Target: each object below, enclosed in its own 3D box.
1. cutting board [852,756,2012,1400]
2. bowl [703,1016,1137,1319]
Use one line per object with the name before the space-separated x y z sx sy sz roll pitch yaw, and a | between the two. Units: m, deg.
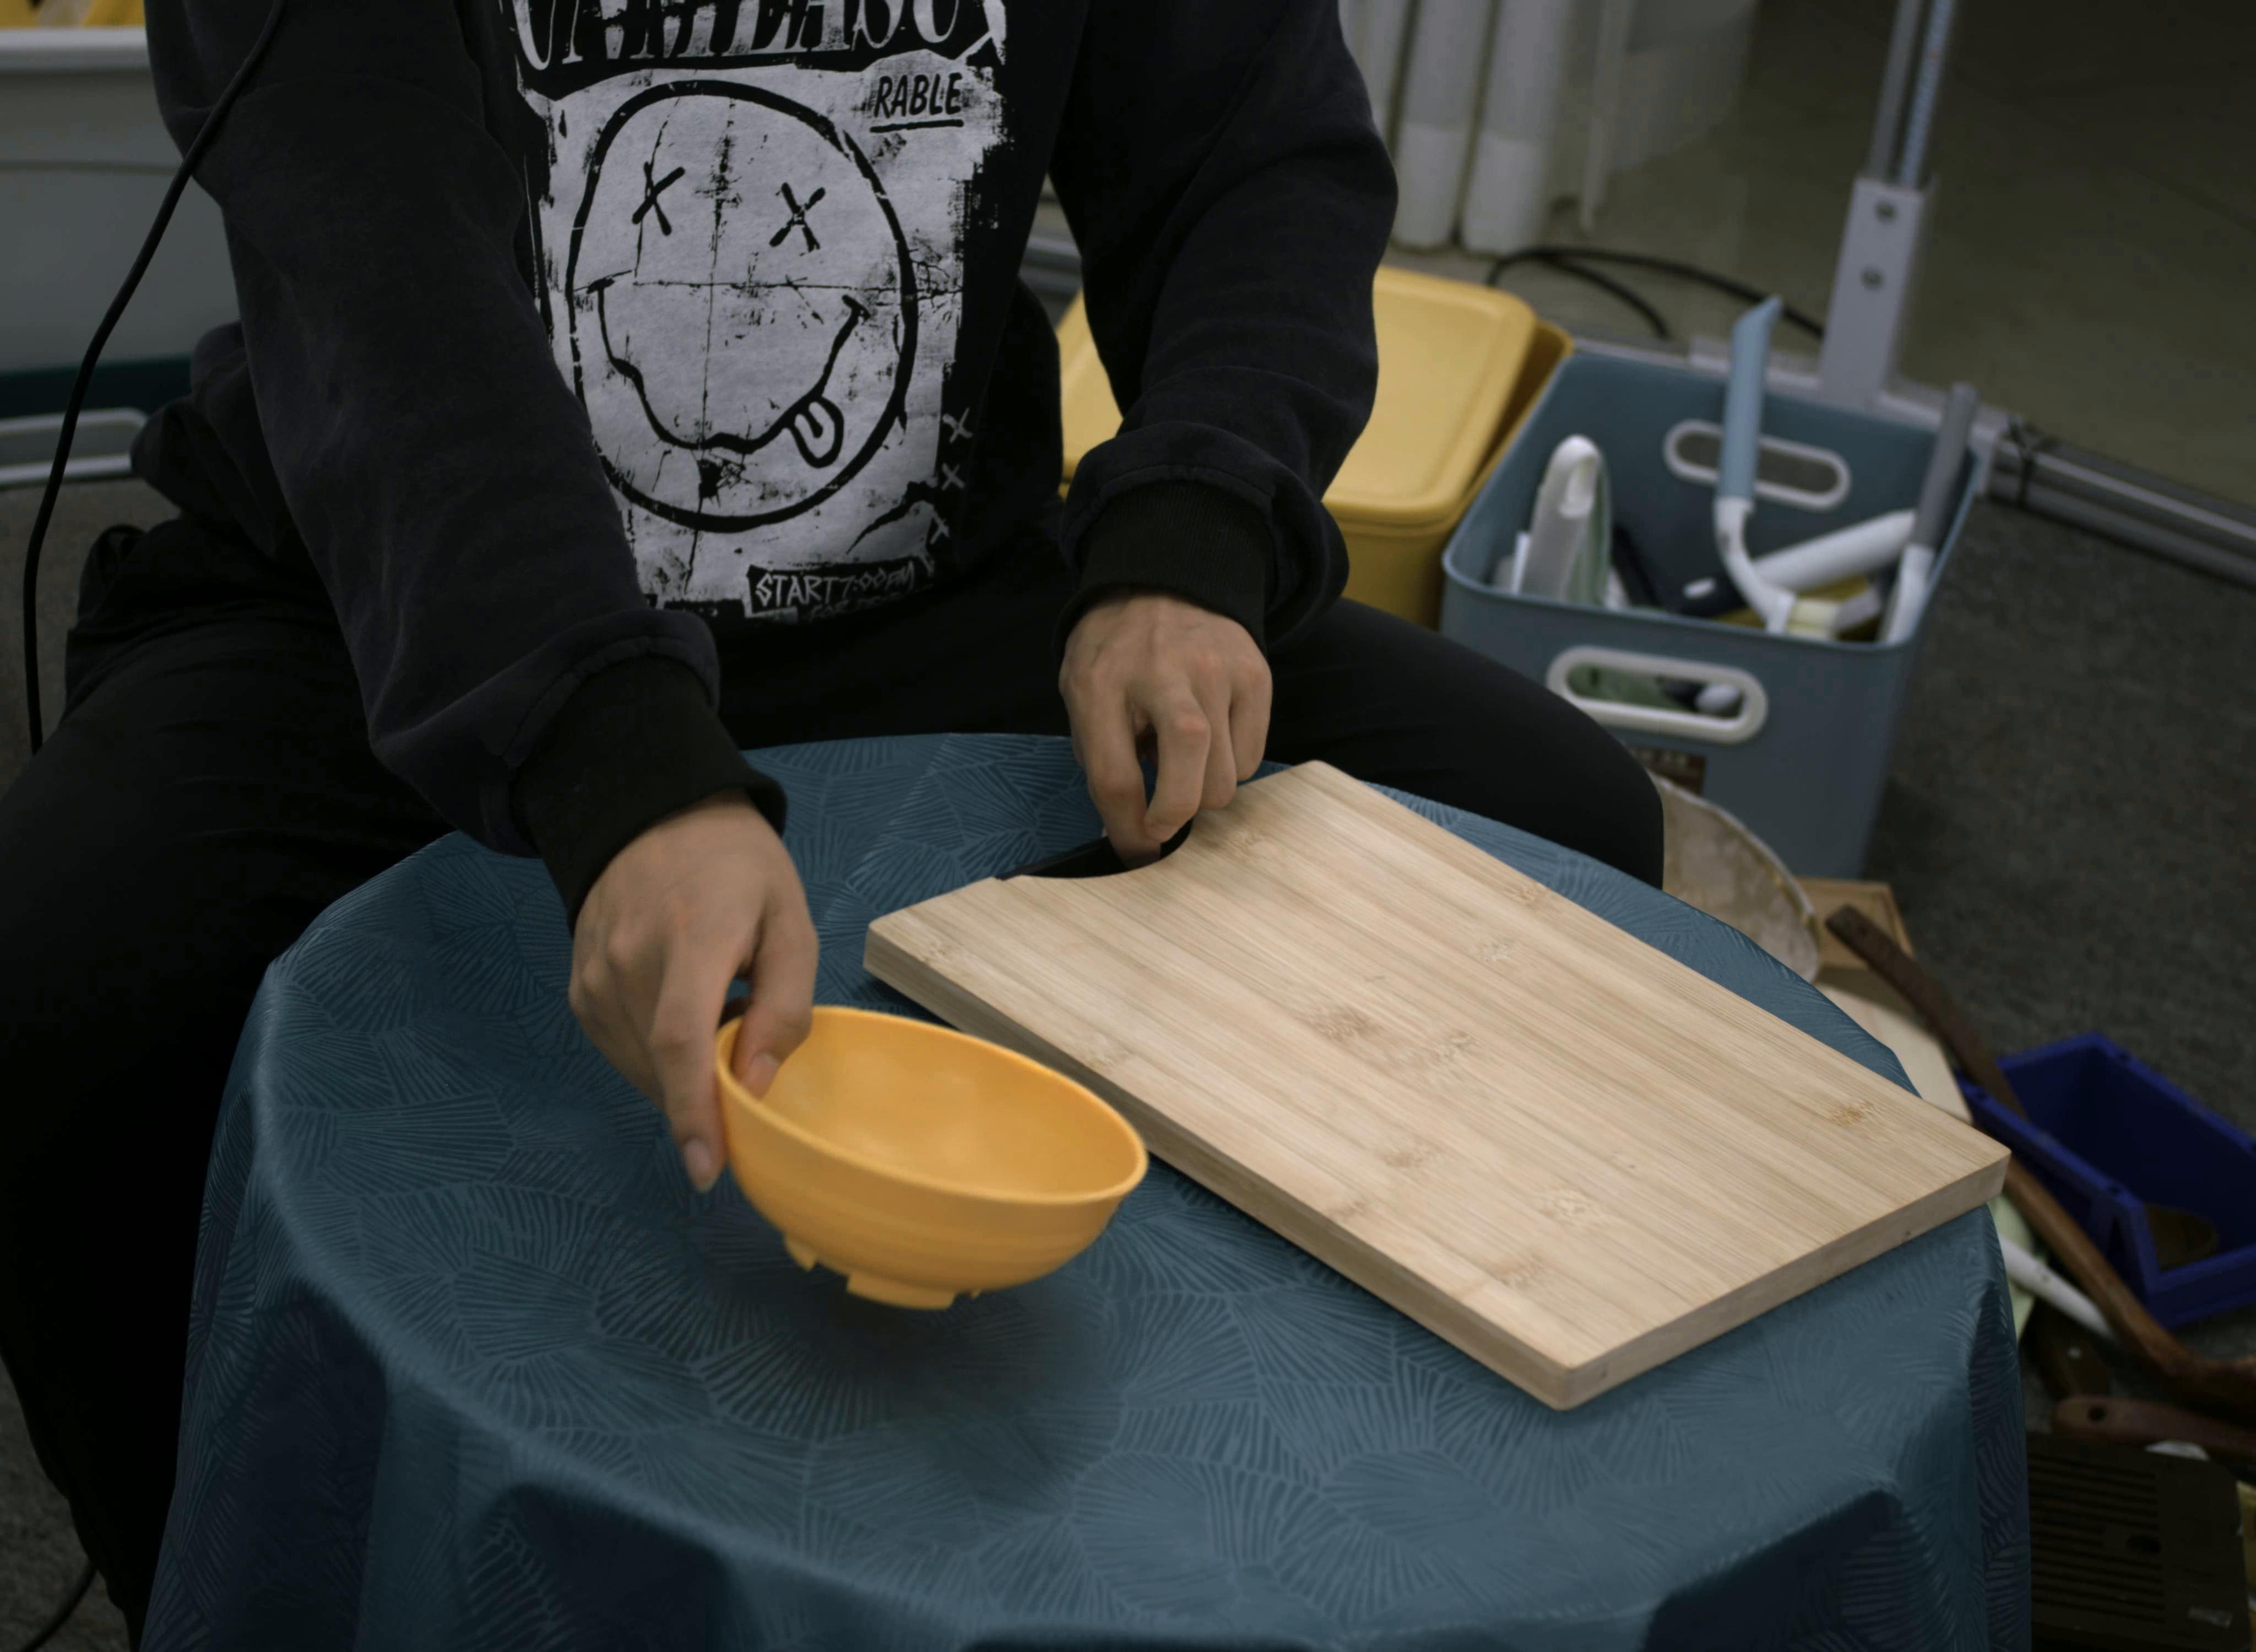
cutting board | 0.104 0.081 1.884 0.351 0.023 0.249 29 34 36
bowl | -0.074 0.117 1.700 0.145 0.060 0.146 16 15 -5
